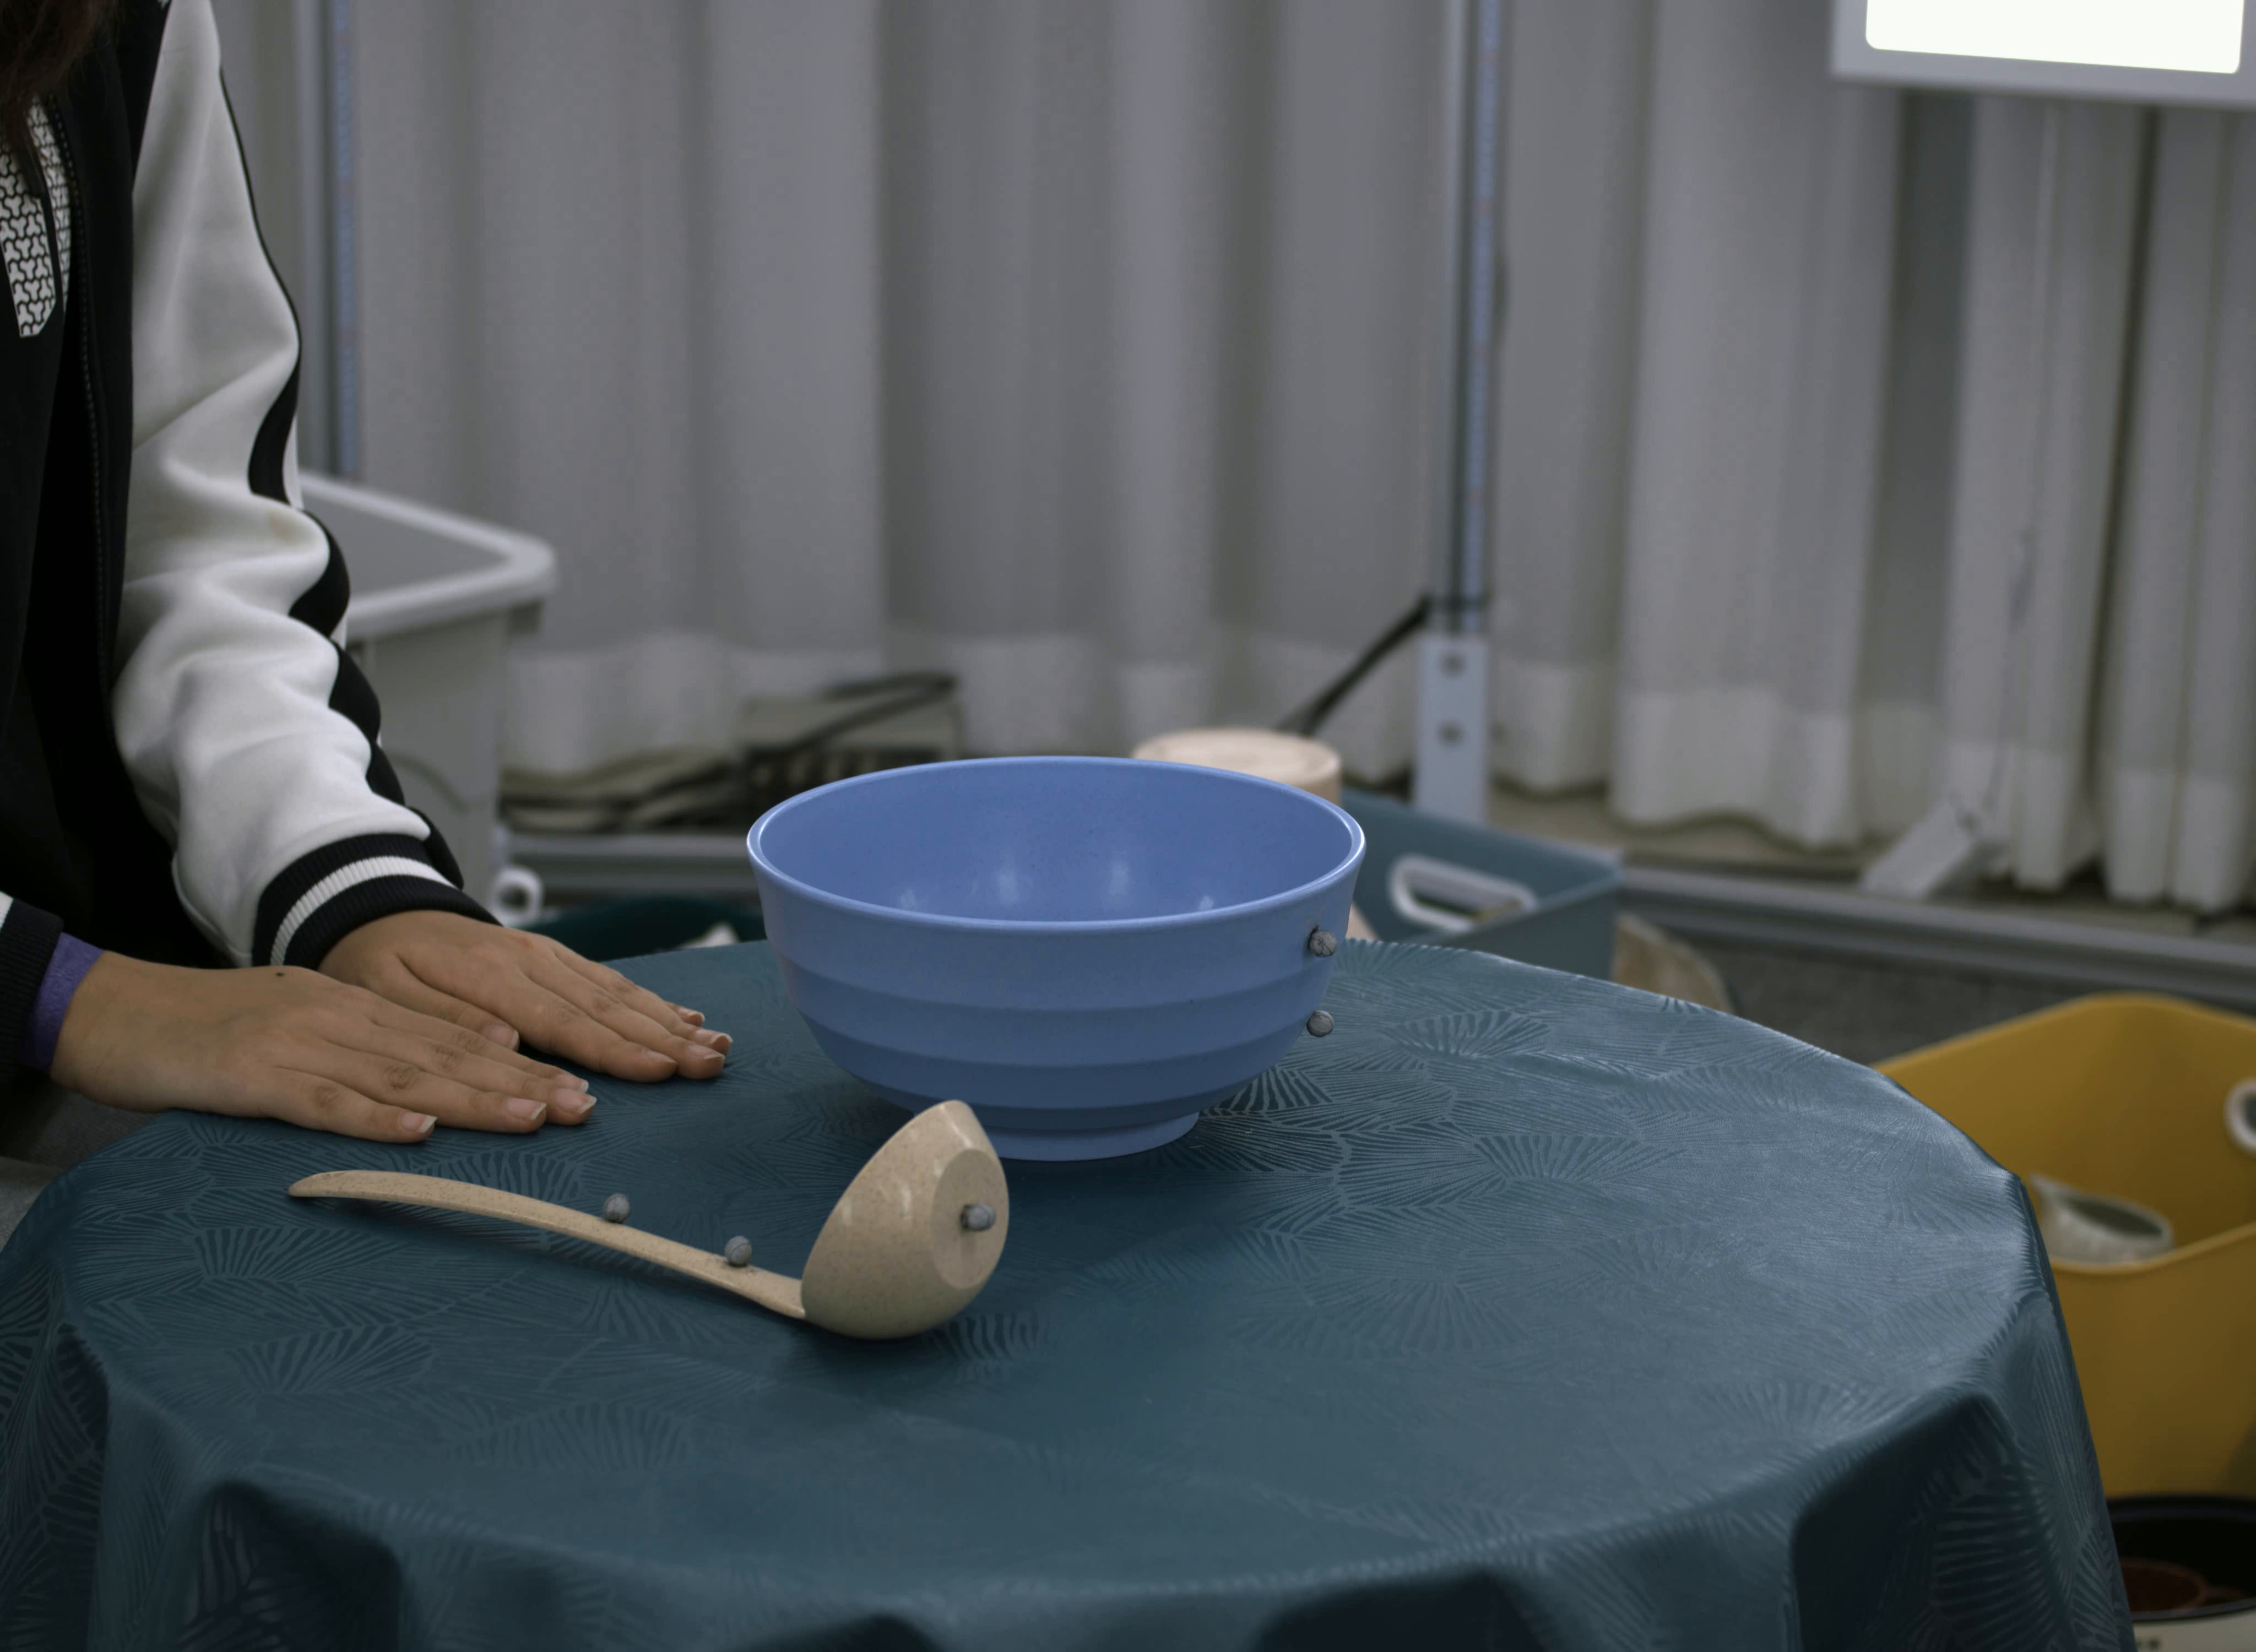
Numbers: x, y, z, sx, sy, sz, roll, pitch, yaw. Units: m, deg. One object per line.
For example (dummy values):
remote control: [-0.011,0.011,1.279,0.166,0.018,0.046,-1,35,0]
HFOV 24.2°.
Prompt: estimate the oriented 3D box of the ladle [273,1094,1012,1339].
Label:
ladle: [-0.150,0.096,1.538,0.251,0.073,0.072,9,17,29]

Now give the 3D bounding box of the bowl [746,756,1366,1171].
bowl: [-0.022,0.050,1.678,0.196,0.096,0.195,0,17,1]
